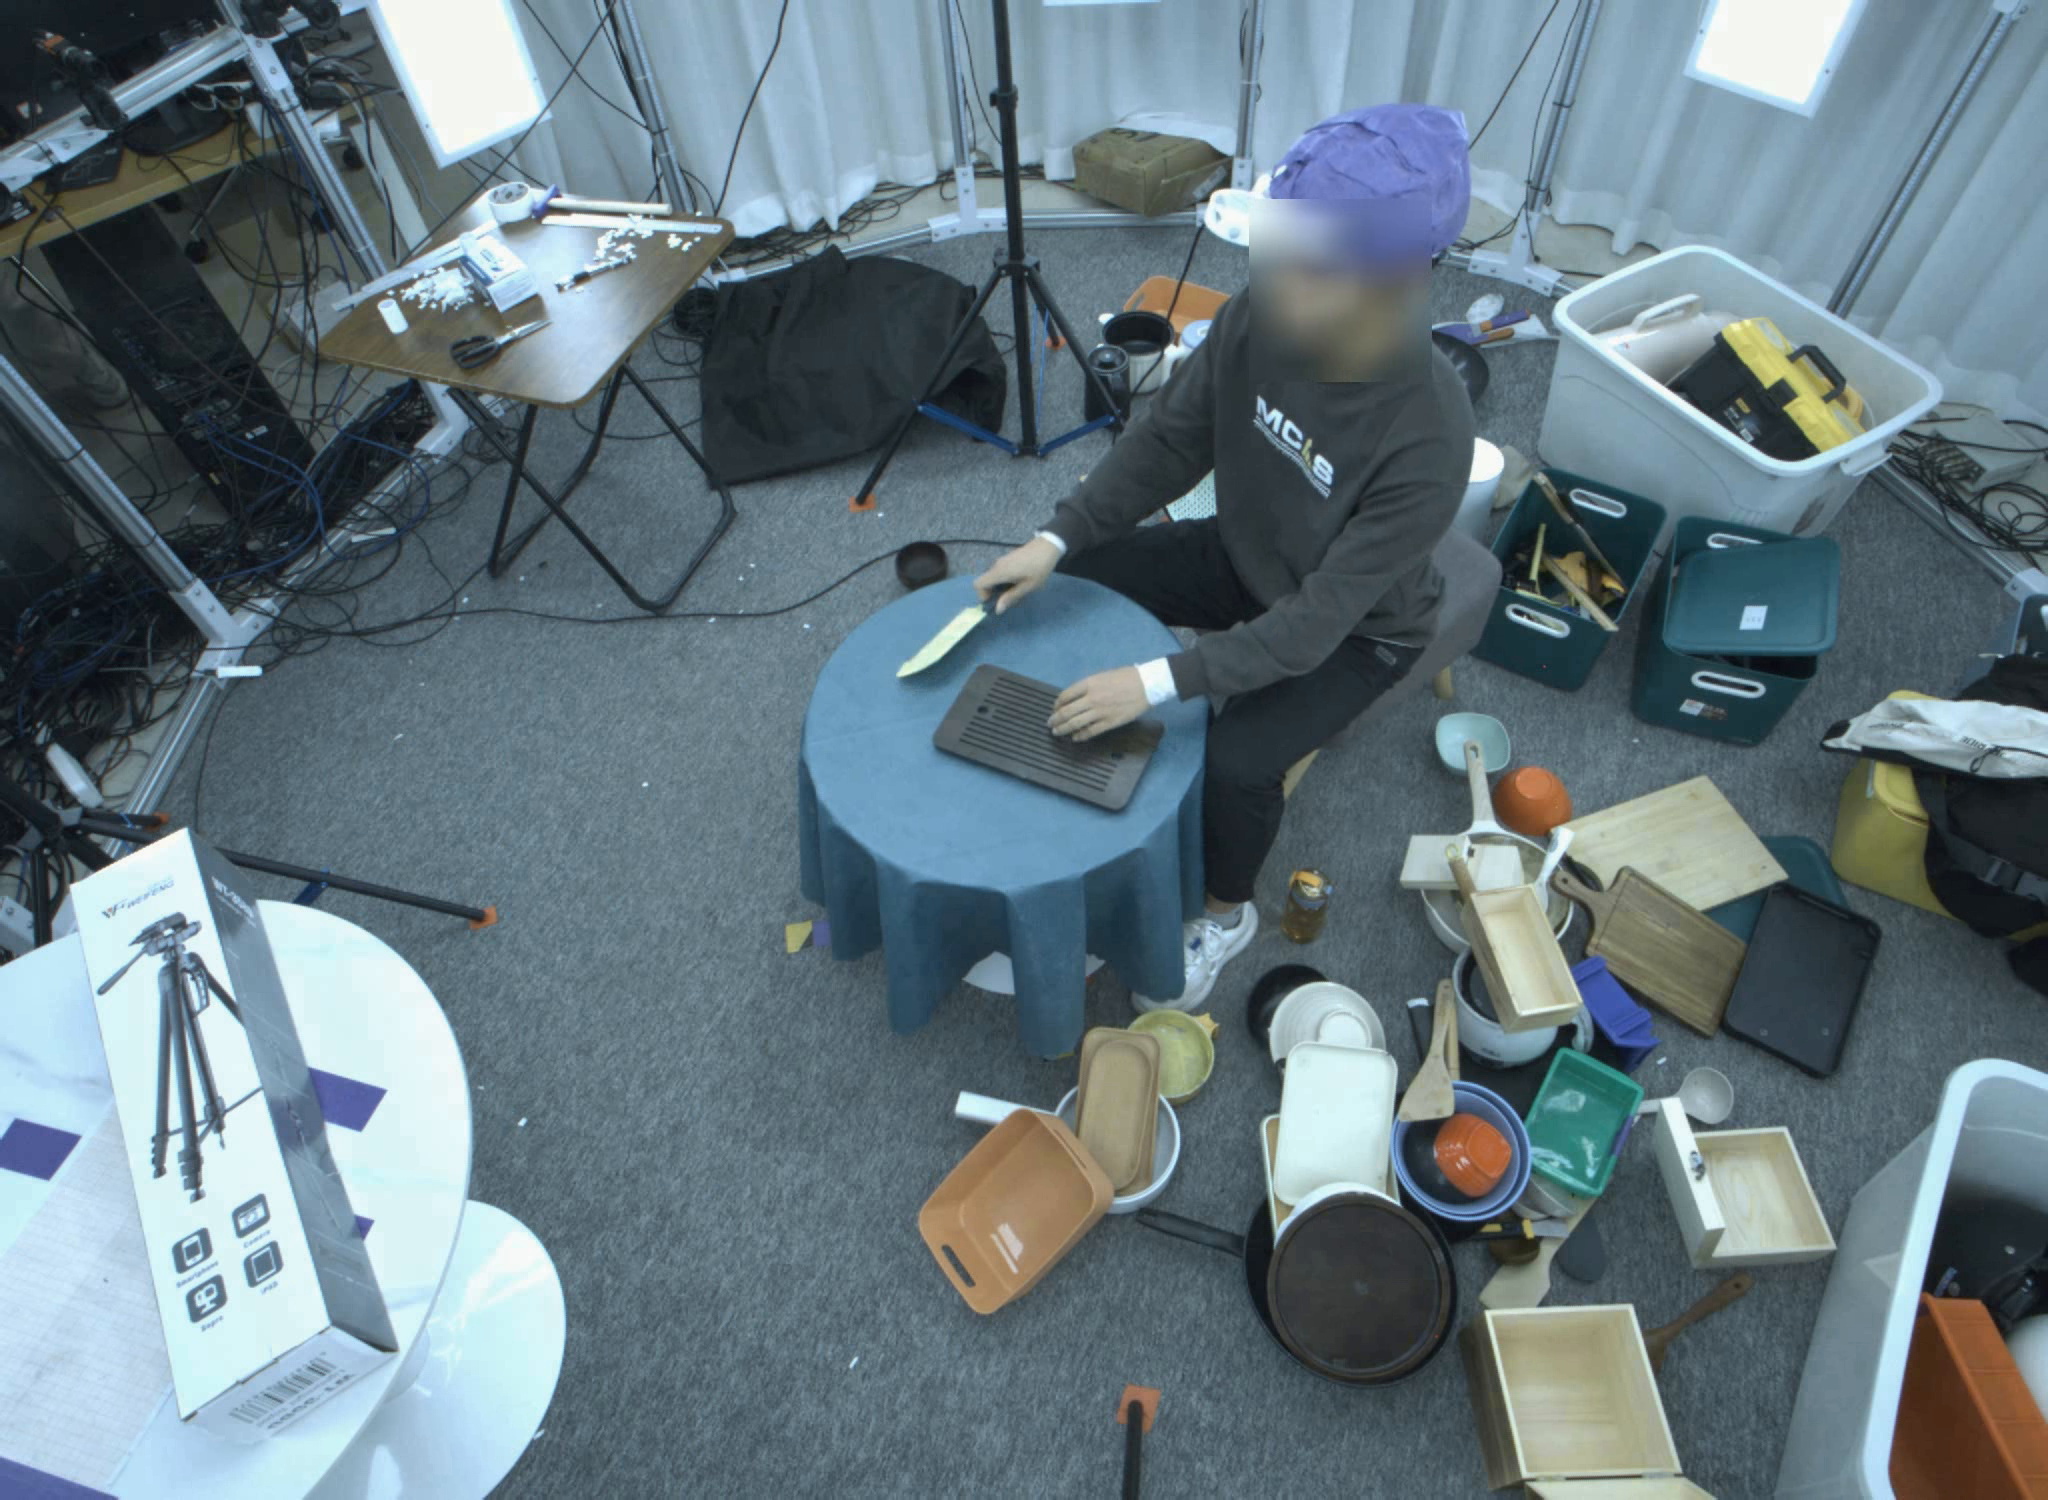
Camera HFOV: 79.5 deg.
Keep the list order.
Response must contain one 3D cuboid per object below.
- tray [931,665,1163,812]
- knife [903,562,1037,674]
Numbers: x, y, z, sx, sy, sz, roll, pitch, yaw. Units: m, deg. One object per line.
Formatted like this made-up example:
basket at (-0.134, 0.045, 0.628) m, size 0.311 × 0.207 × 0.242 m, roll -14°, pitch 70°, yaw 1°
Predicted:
tray at (0.033, -0.019, 1.796) m, size 0.302 × 0.019 × 0.170 m, roll 20°, pitch 57°, yaw 15°
knife at (-0.086, -0.206, 1.913) m, size 0.291 × 0.028 × 0.079 m, roll -43°, pitch 34°, yaw -24°
